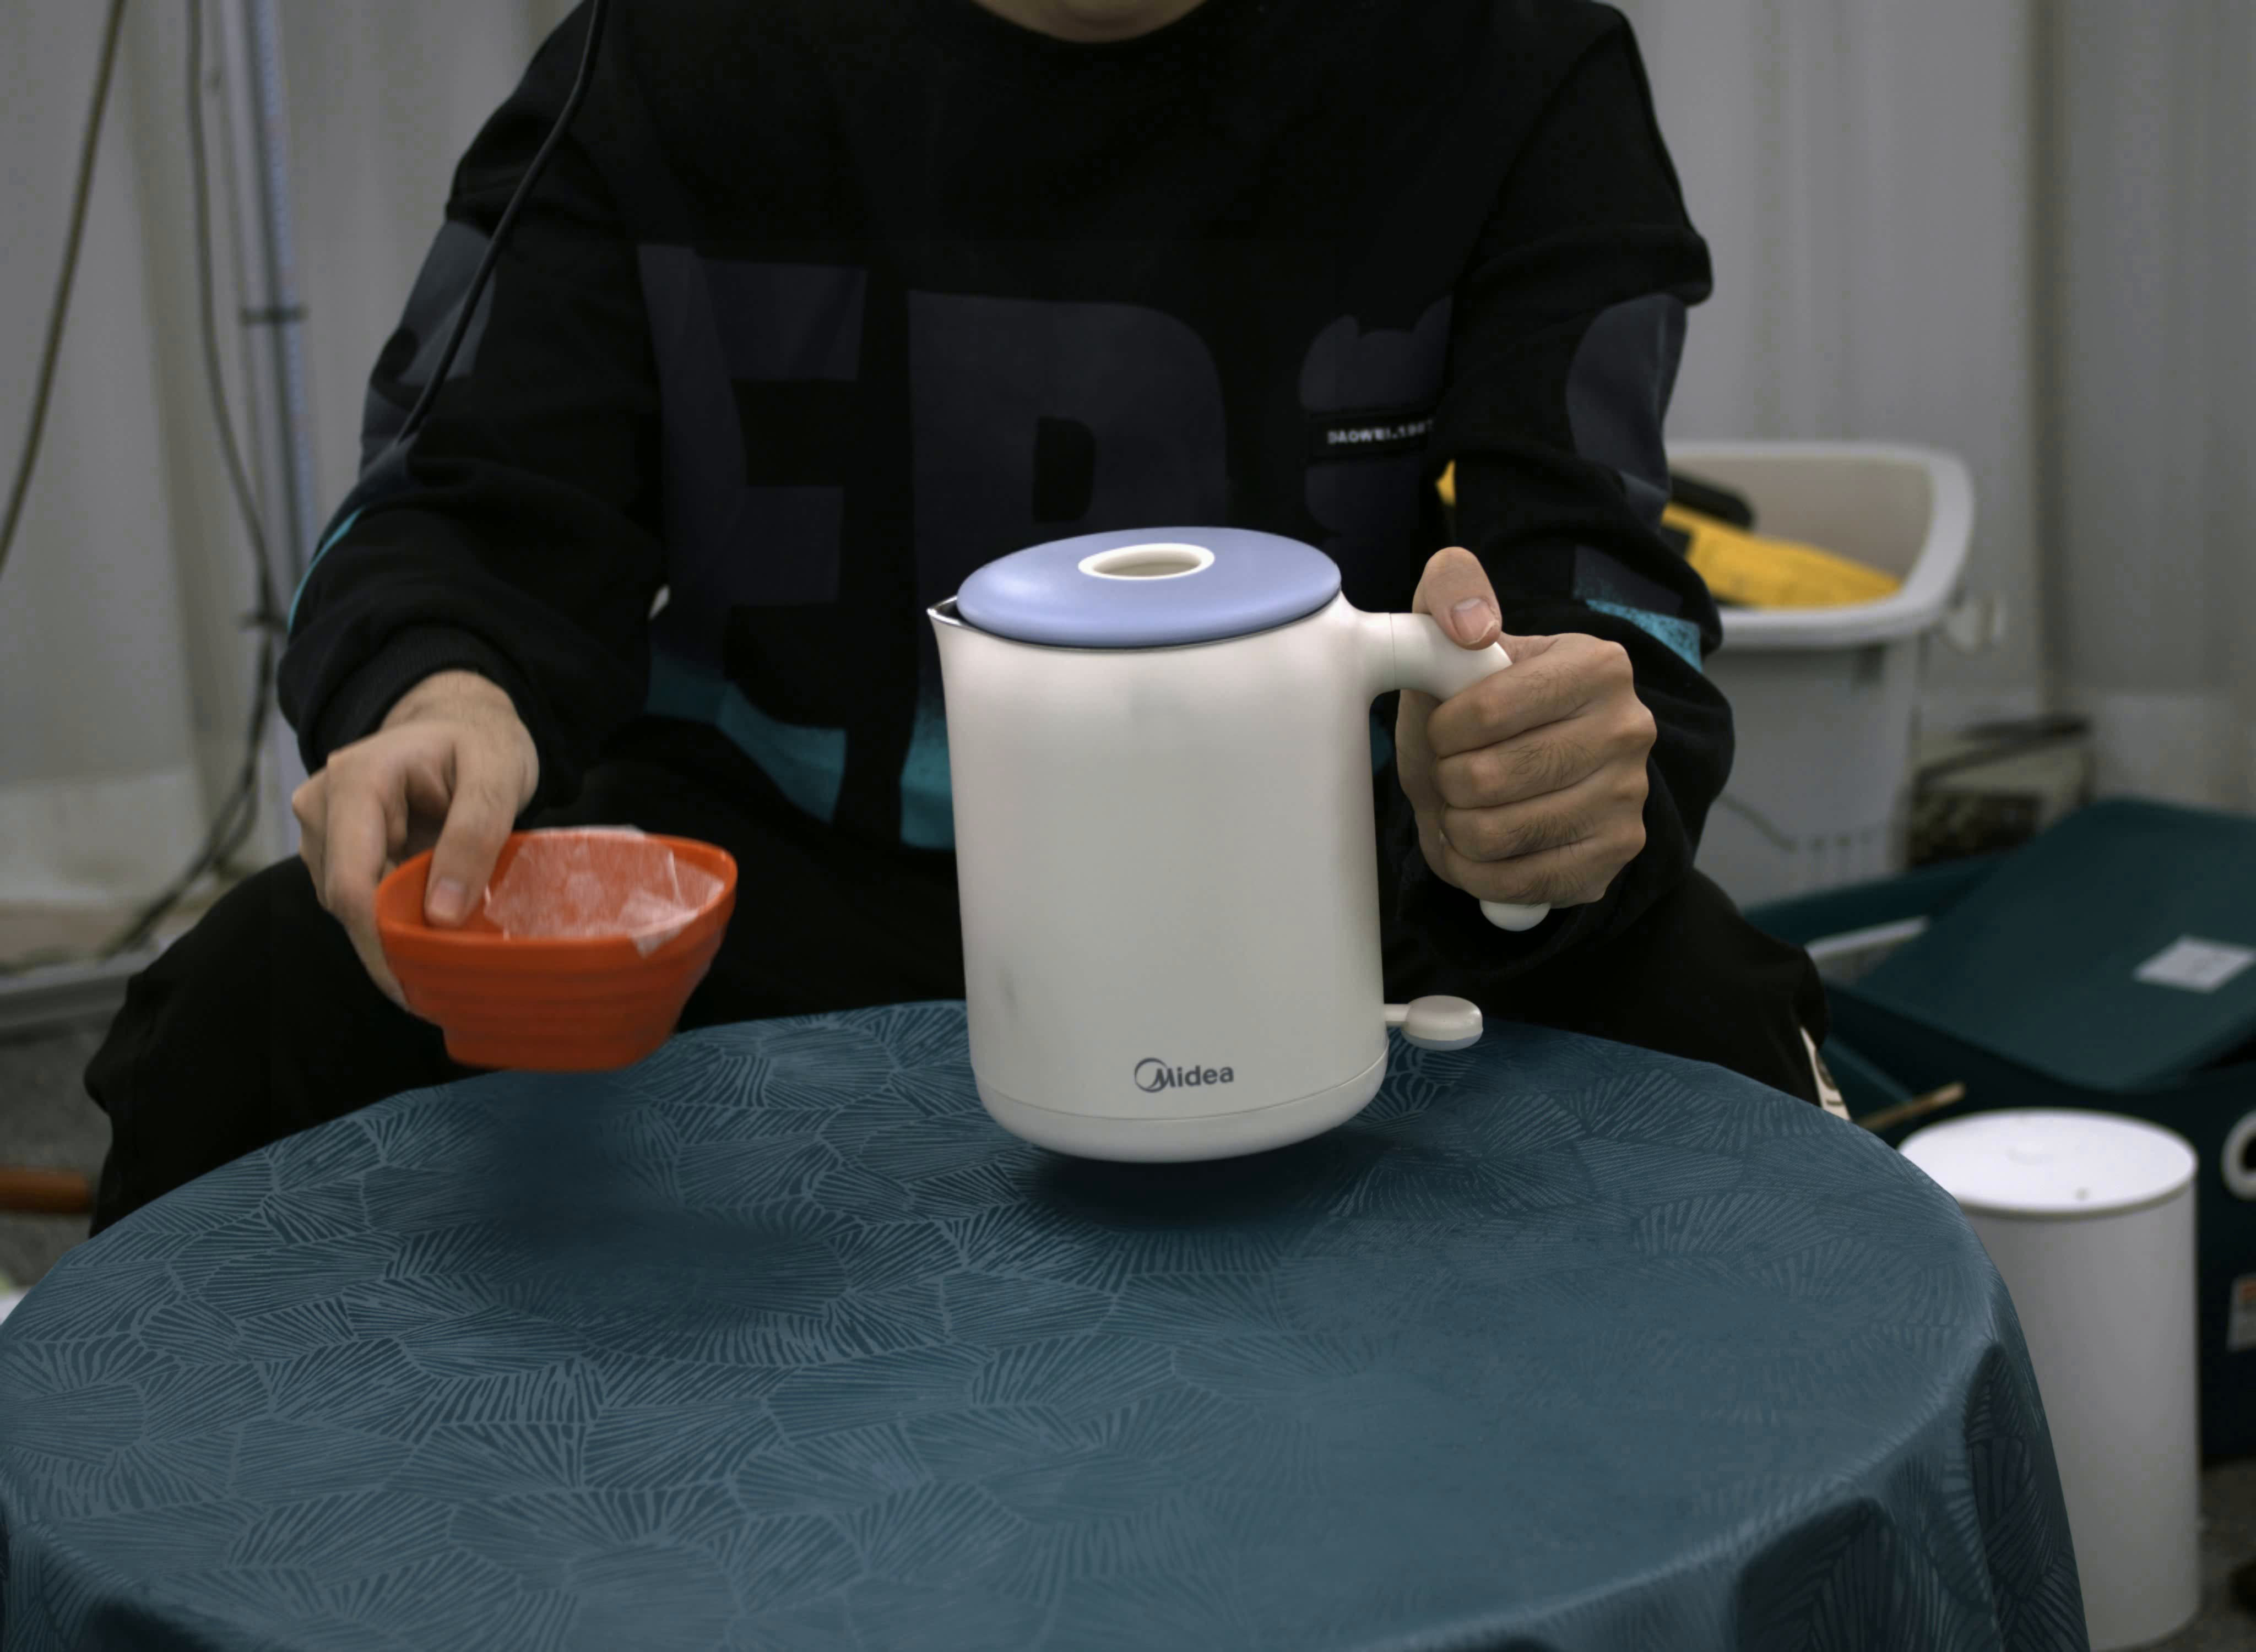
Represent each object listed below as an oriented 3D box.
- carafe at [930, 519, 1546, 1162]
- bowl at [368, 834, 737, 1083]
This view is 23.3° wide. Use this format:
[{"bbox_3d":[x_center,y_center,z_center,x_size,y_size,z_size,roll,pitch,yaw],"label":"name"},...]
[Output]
[{"bbox_3d":[0.036,0.003,1.702,0.190,0.181,0.133,-2,17,-3],"label":"carafe"},{"bbox_3d":[-0.175,0.044,1.690,0.118,0.051,0.120,-3,19,1],"label":"bowl"}]
